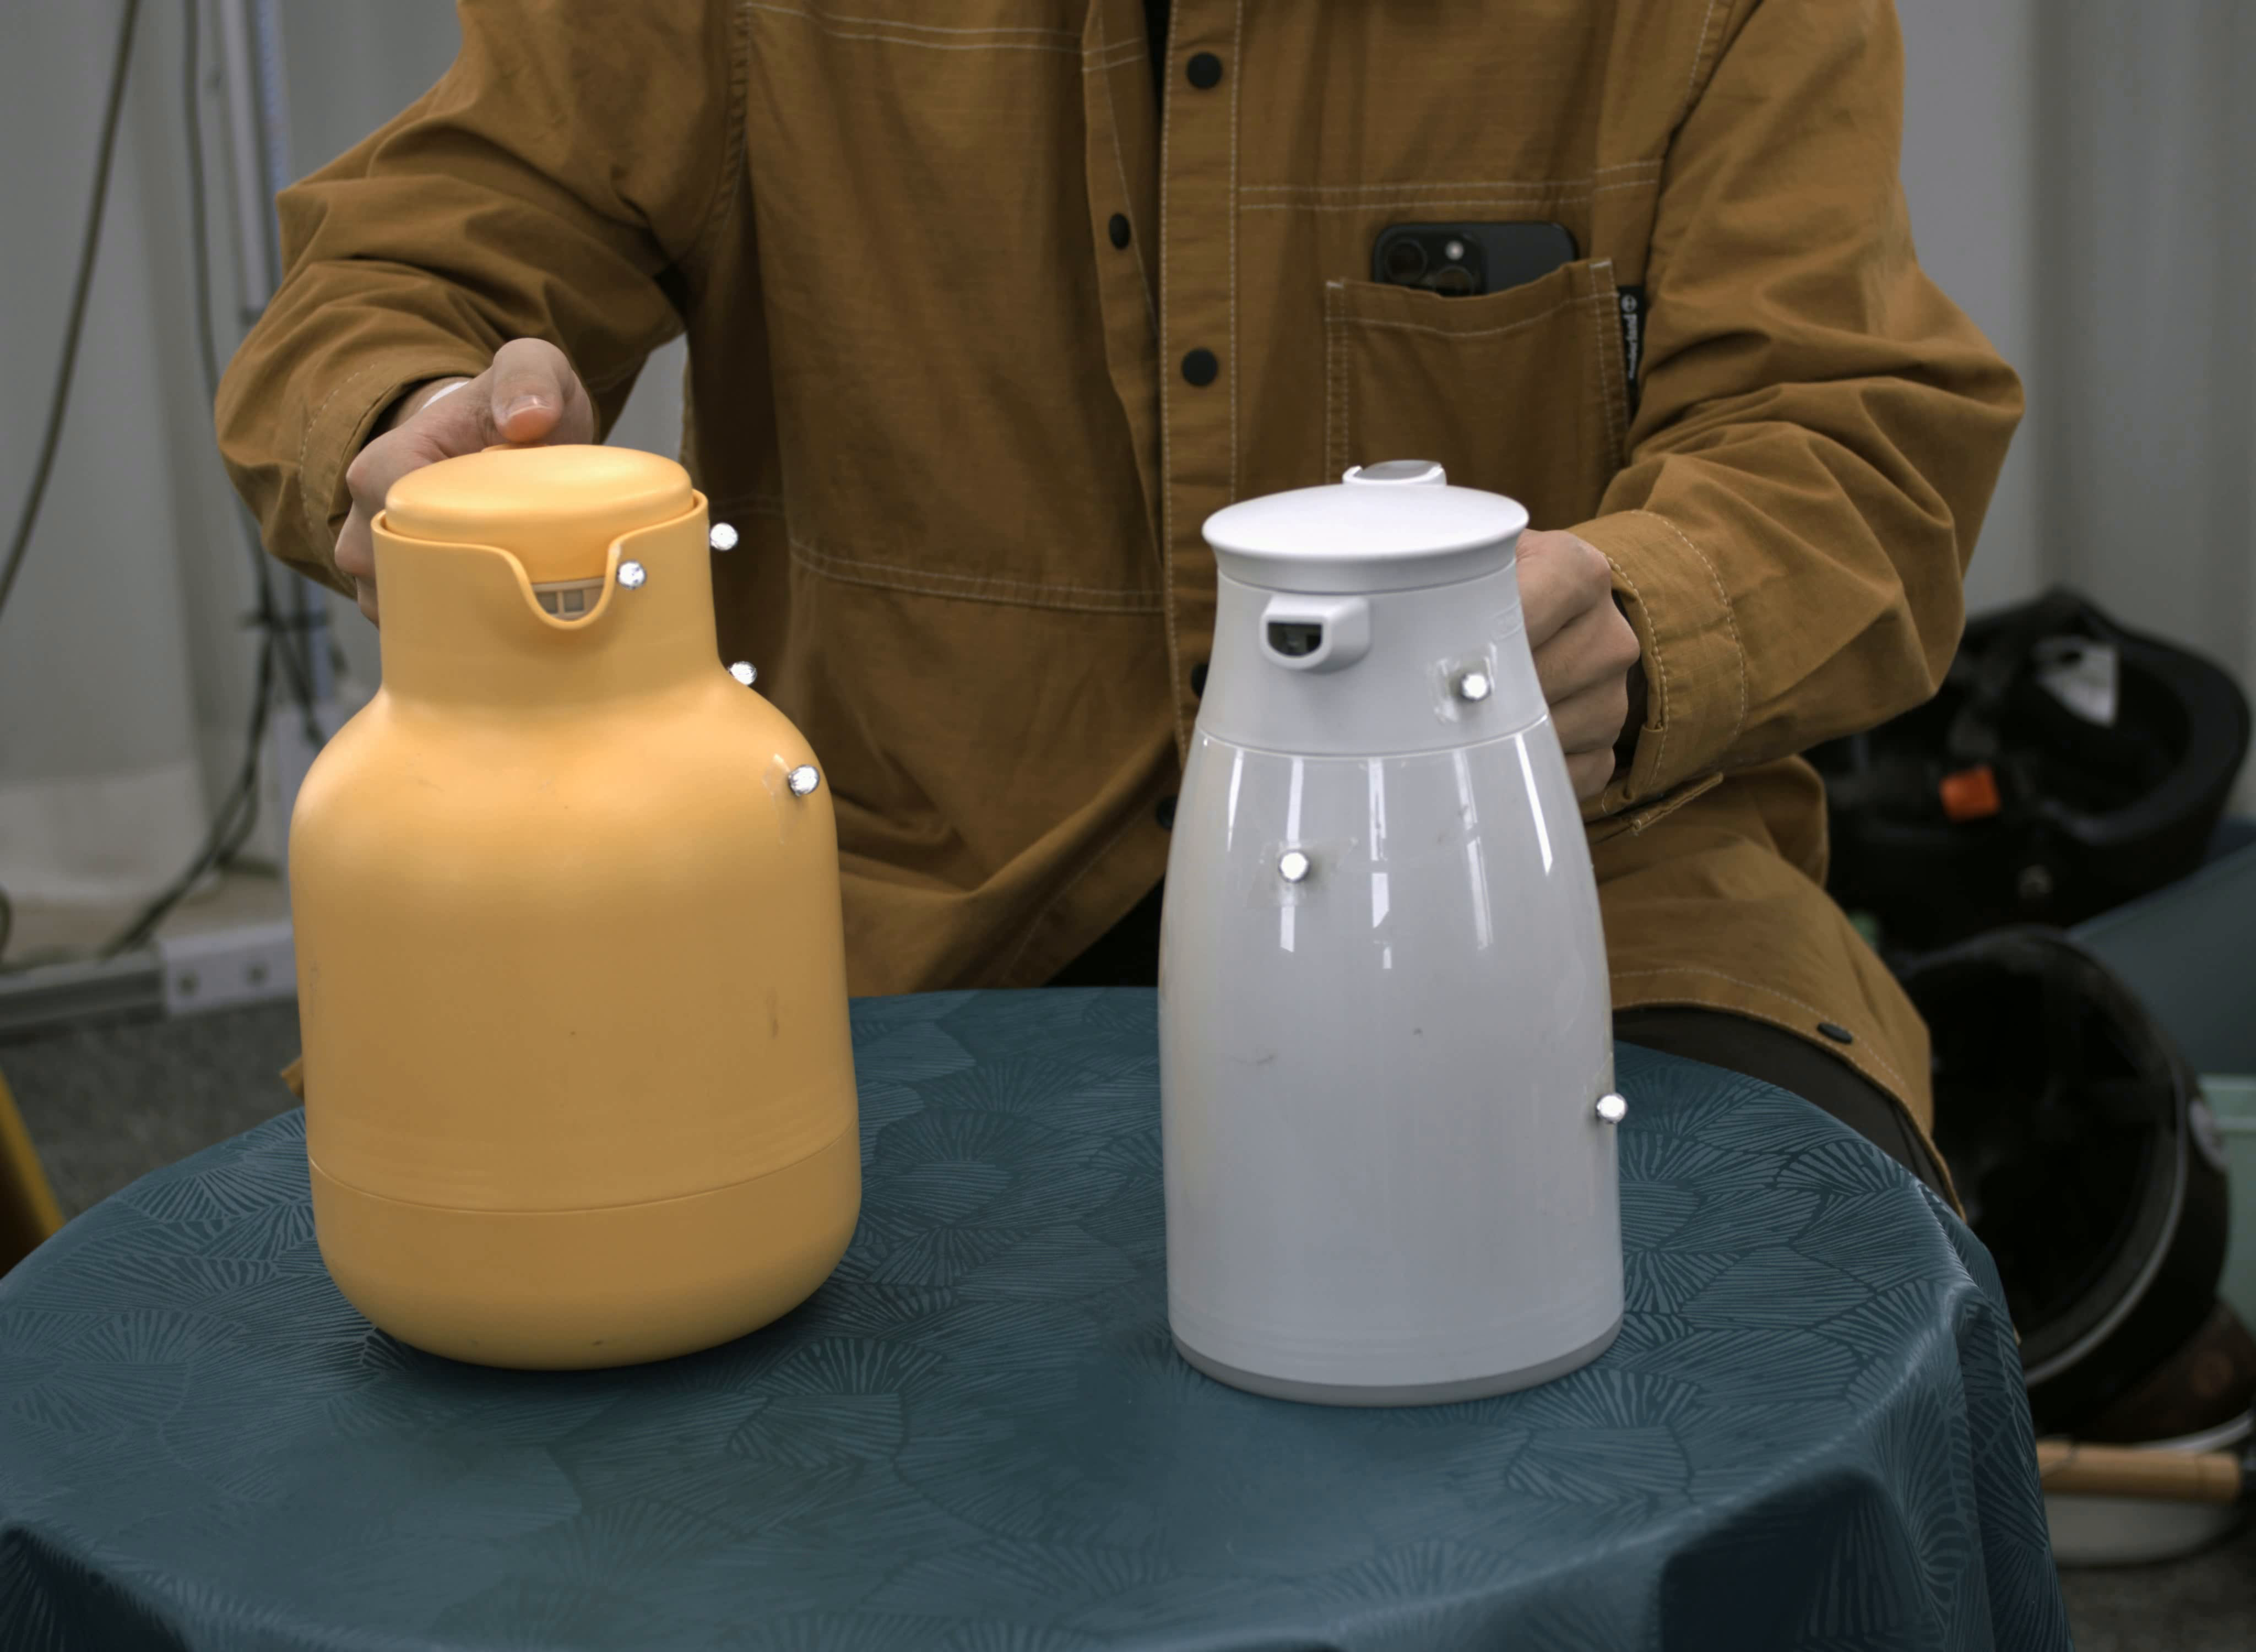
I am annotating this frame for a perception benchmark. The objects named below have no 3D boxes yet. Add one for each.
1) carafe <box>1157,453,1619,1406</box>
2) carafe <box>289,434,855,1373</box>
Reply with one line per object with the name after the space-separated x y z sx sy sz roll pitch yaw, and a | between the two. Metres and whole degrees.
0.077 0.020 1.572 0.132 0.248 0.168 3 15 20 | carafe
-0.166 0.014 1.623 0.163 0.259 0.204 -3 15 -9 | carafe
